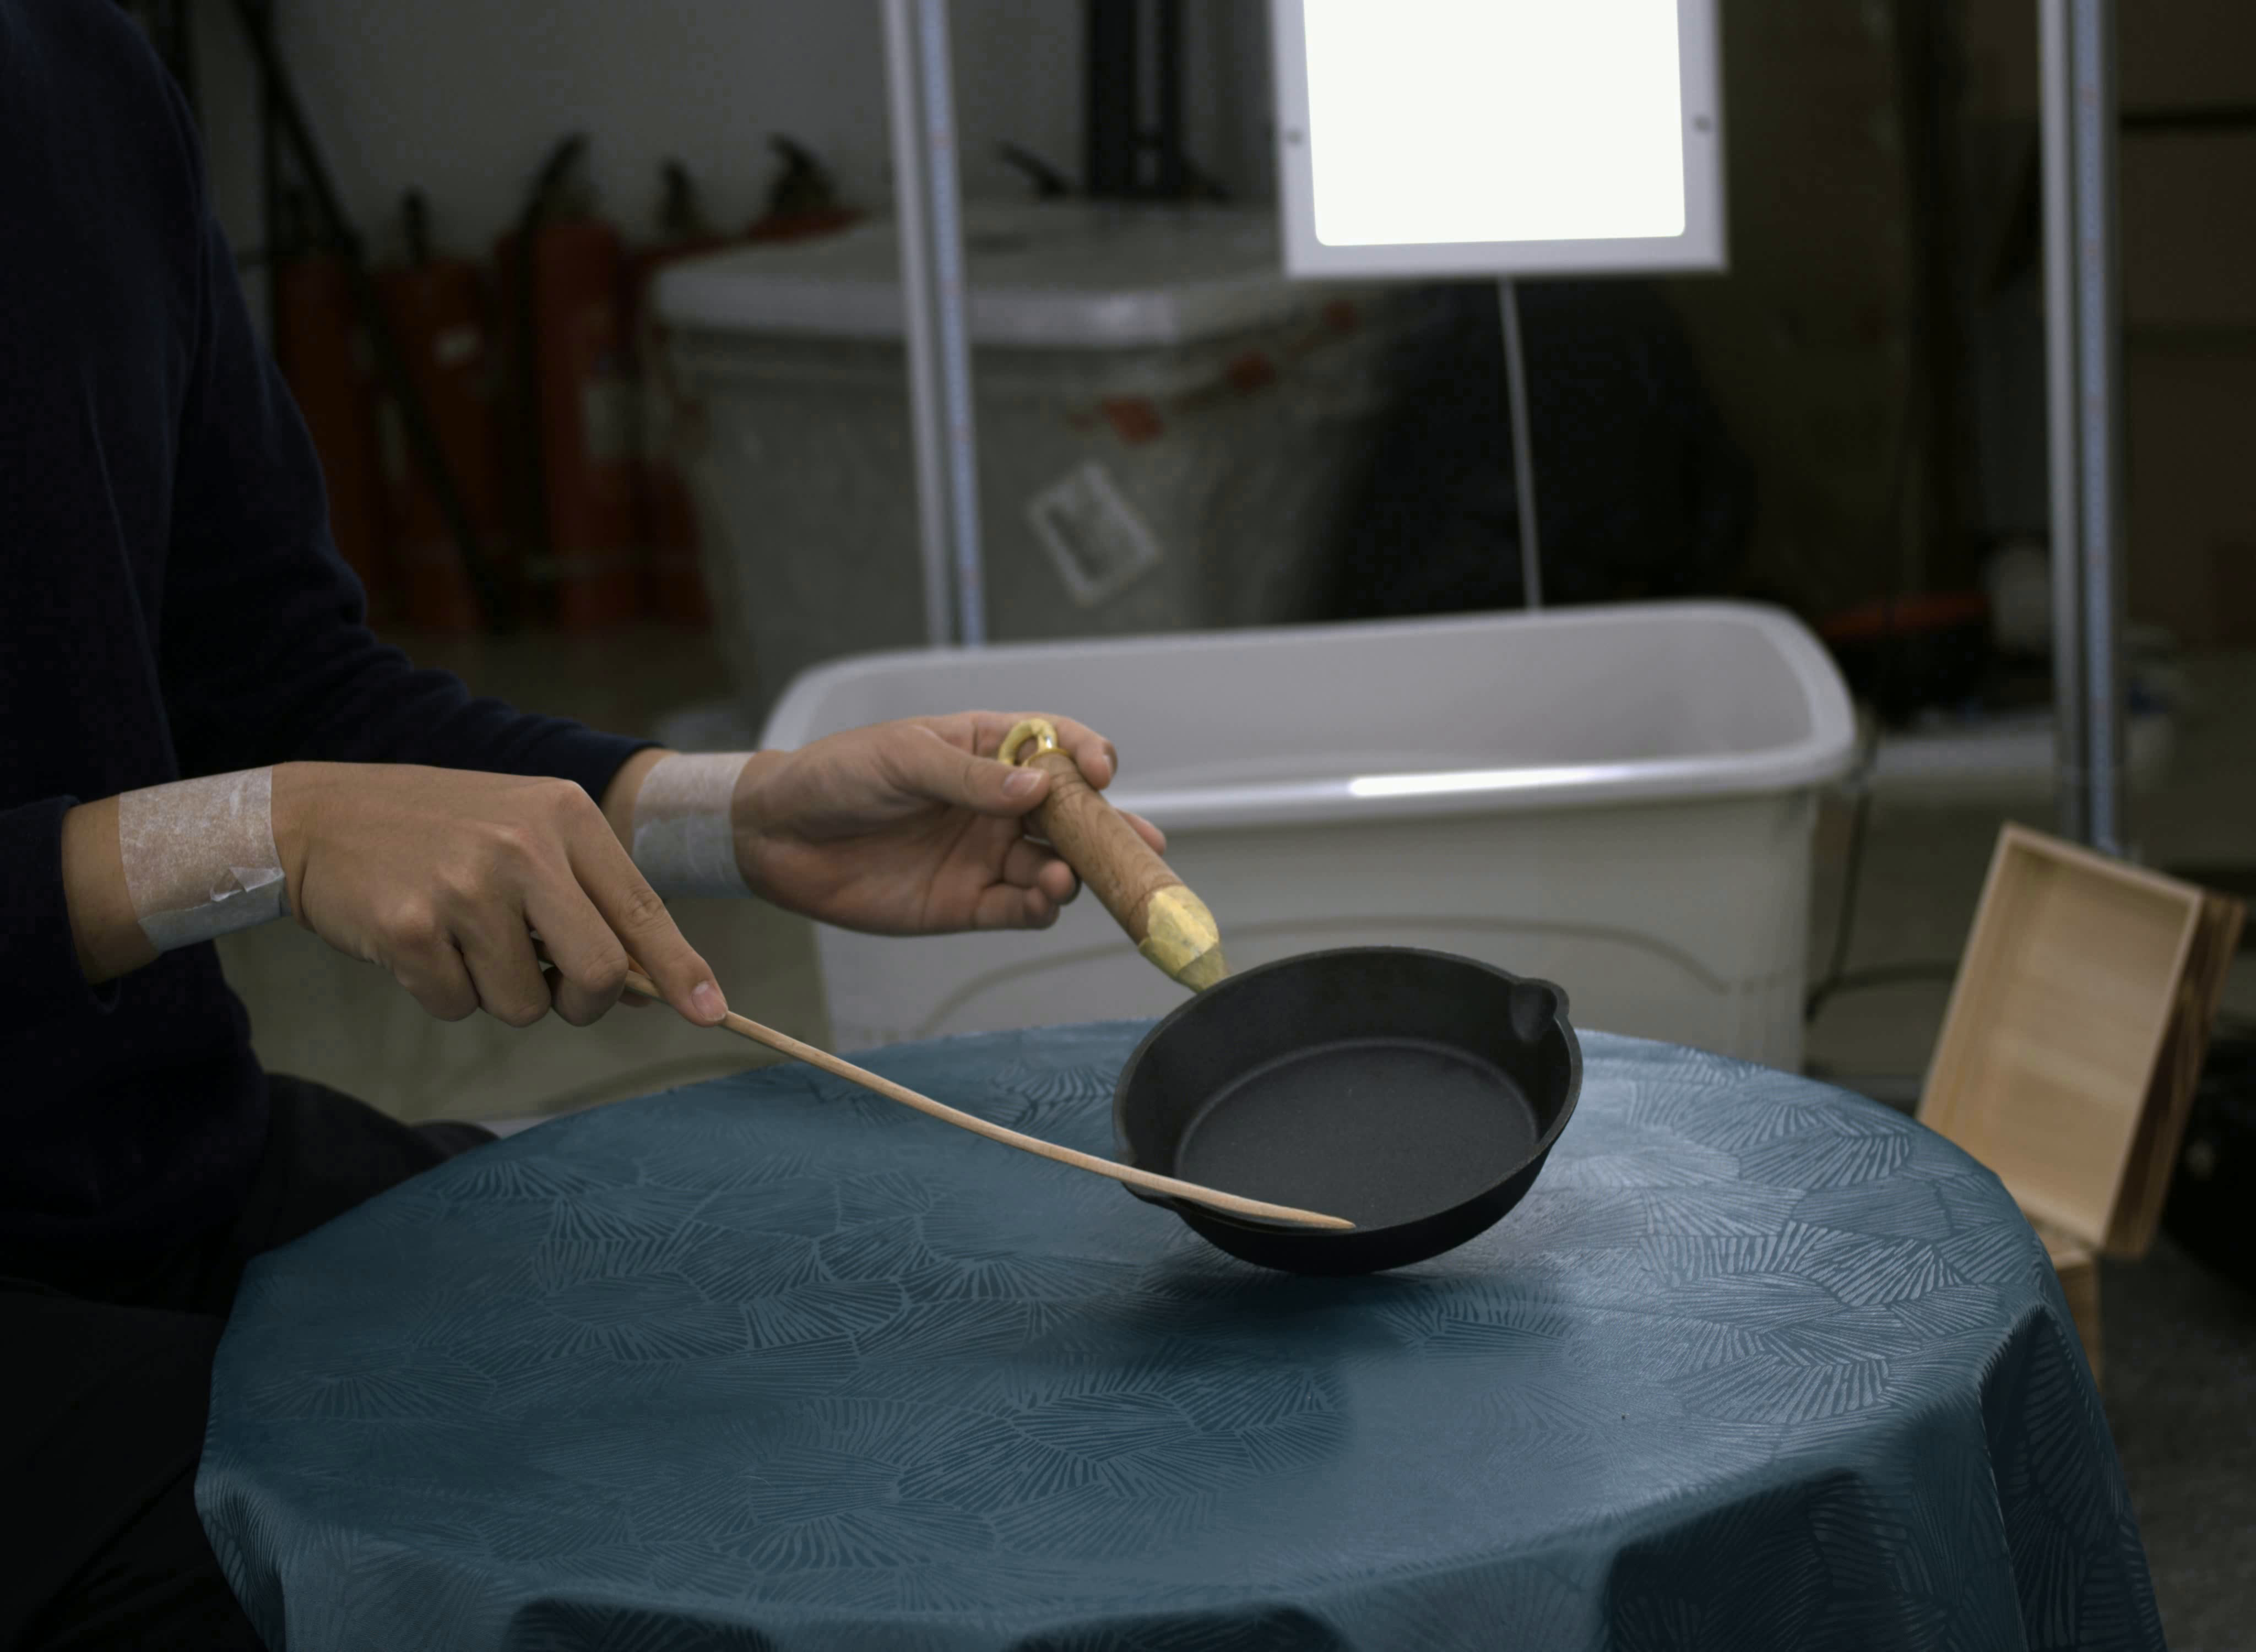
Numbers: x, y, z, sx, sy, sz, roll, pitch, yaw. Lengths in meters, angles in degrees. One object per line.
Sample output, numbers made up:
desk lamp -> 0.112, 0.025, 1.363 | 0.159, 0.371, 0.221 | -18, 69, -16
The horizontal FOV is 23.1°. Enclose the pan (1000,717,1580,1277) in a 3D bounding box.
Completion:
pan -> 0.036, 0.053, 1.895 | 0.166, 0.049, 0.328 | -23, 37, -16

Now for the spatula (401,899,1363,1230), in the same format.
spatula -> -0.080, 0.078, 1.769 | 0.328, 0.016, 0.079 | 20, -4, 6
